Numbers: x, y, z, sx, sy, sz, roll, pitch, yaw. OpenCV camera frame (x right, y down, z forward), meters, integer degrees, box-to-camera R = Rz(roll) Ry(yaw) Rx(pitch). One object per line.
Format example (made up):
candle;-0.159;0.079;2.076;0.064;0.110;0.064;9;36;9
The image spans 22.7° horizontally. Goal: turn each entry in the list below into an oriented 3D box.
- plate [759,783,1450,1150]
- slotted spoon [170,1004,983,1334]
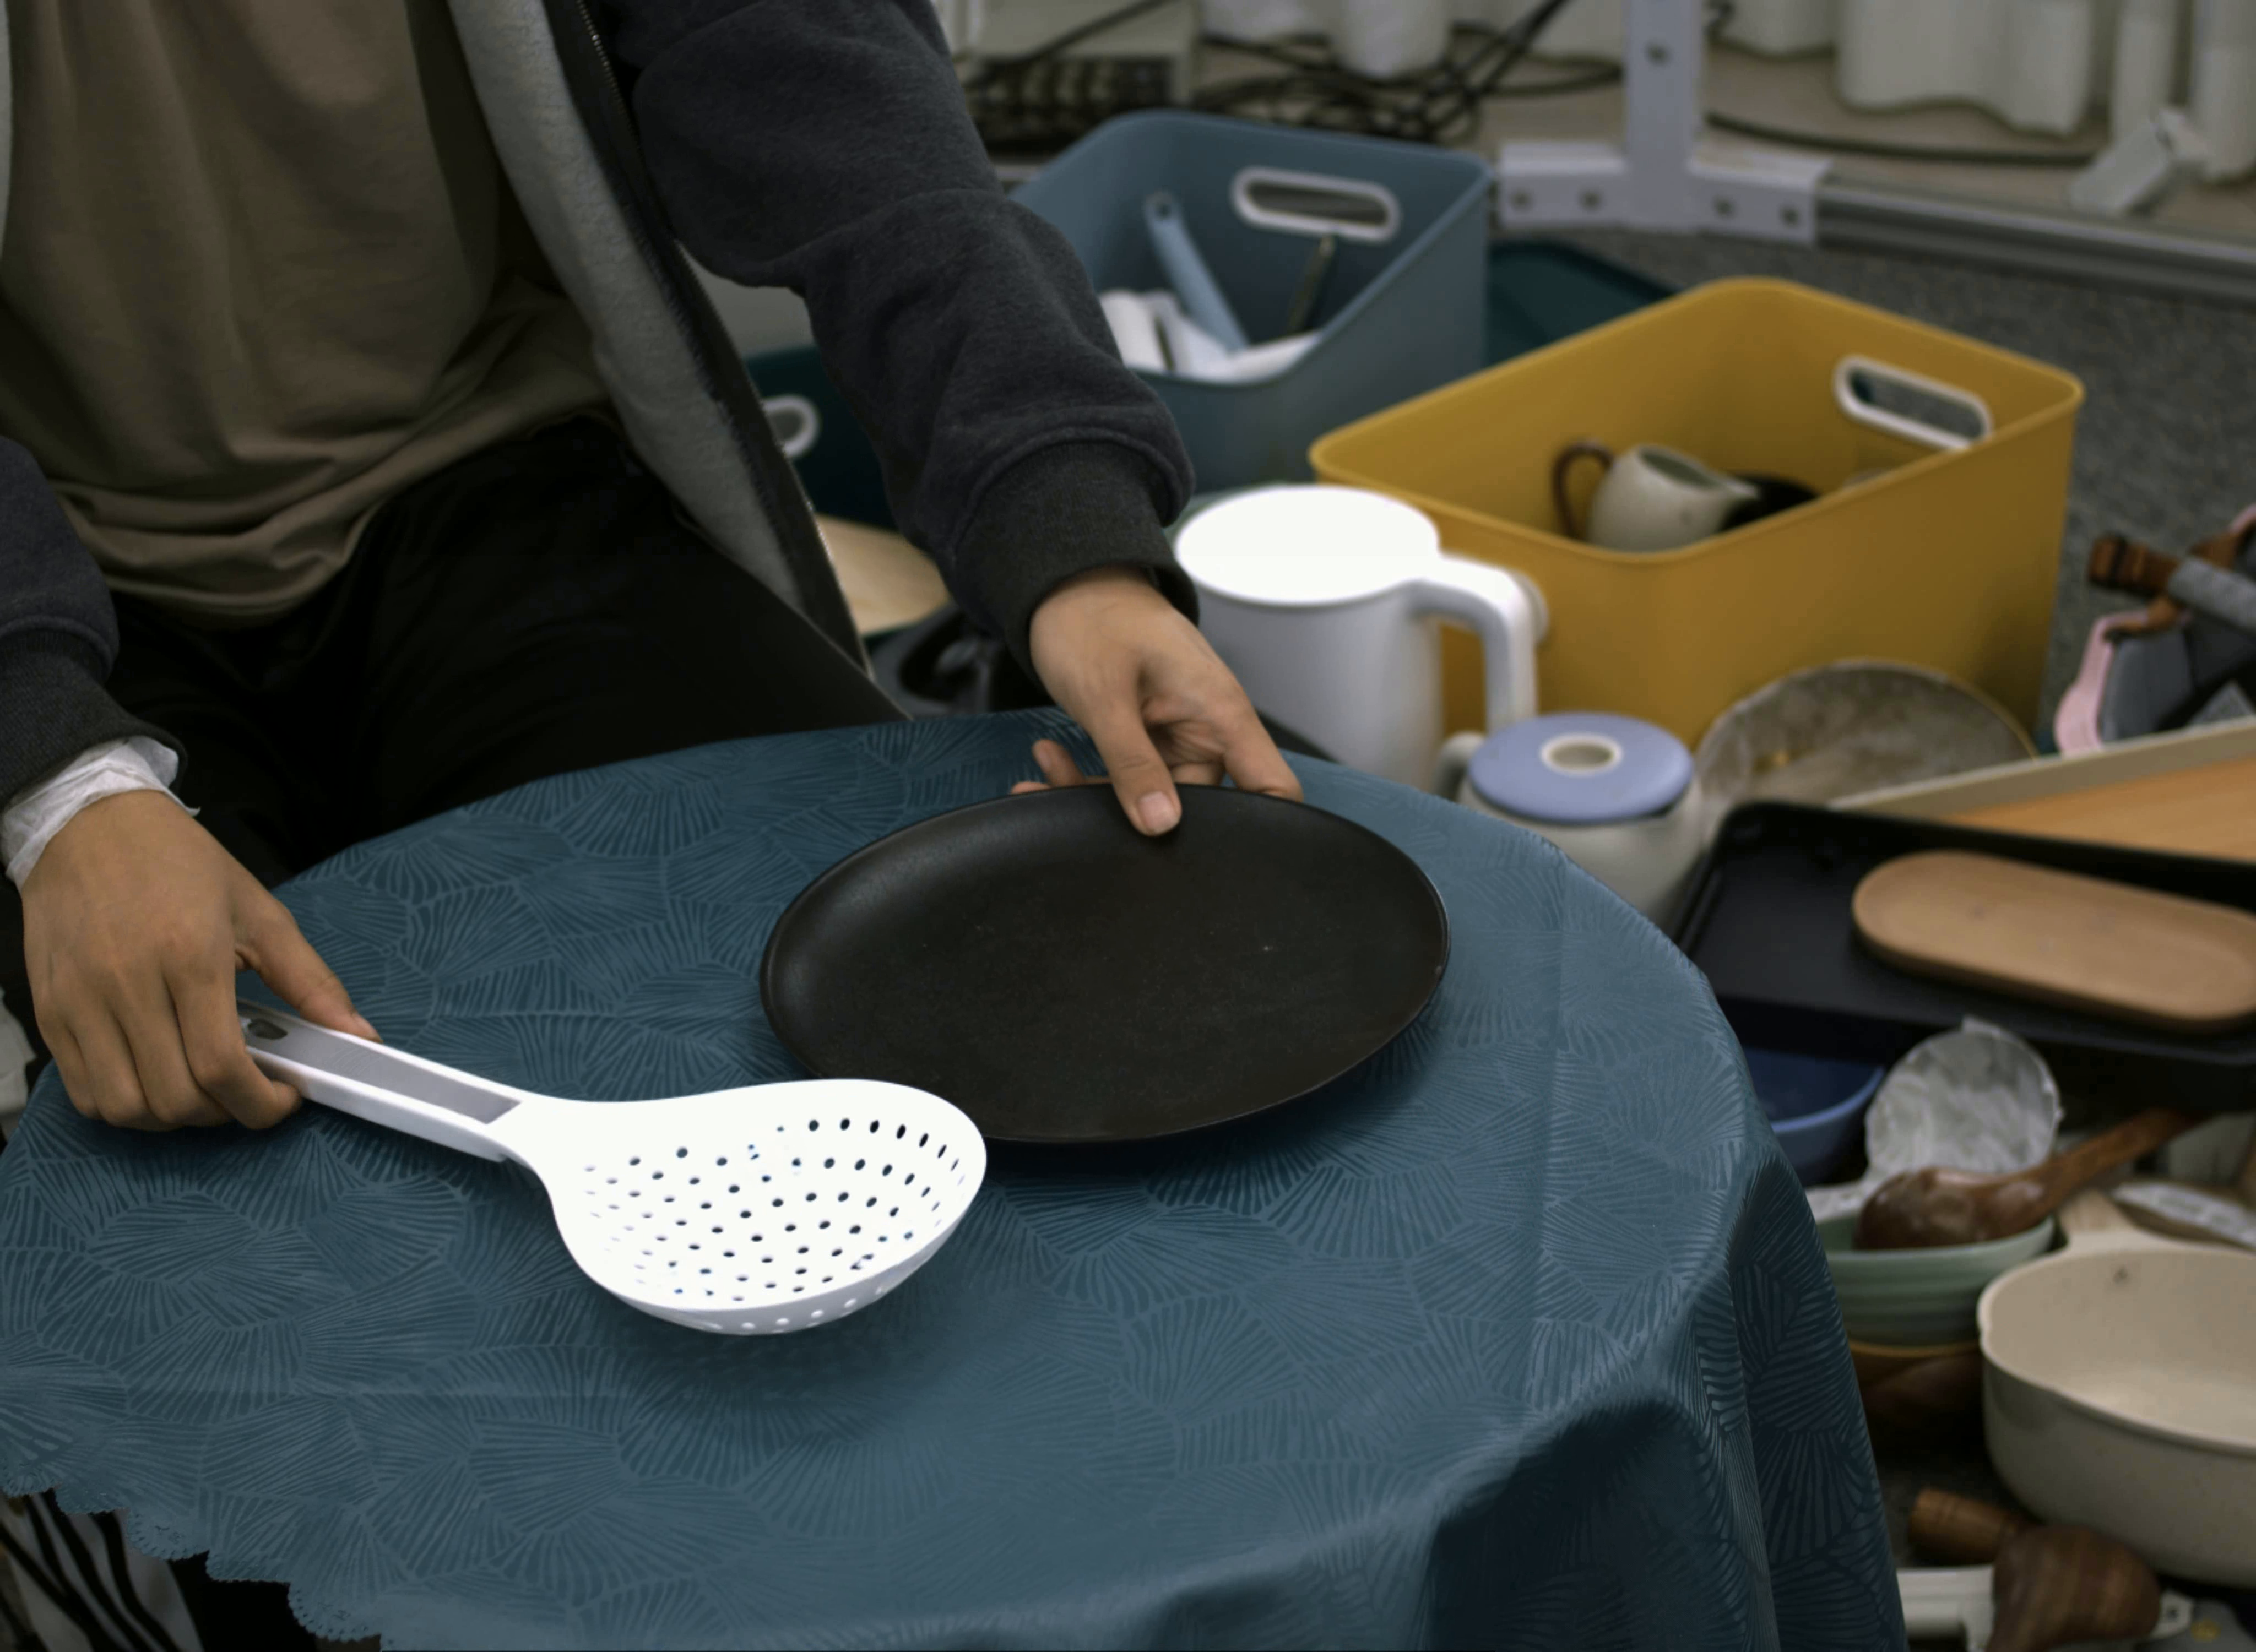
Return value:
plate;-0.008;0.053;1.965;0.243;0.023;0.248;-3;29;2
slotted spoon;-0.195;0.105;1.865;0.348;0.045;0.138;17;36;35
